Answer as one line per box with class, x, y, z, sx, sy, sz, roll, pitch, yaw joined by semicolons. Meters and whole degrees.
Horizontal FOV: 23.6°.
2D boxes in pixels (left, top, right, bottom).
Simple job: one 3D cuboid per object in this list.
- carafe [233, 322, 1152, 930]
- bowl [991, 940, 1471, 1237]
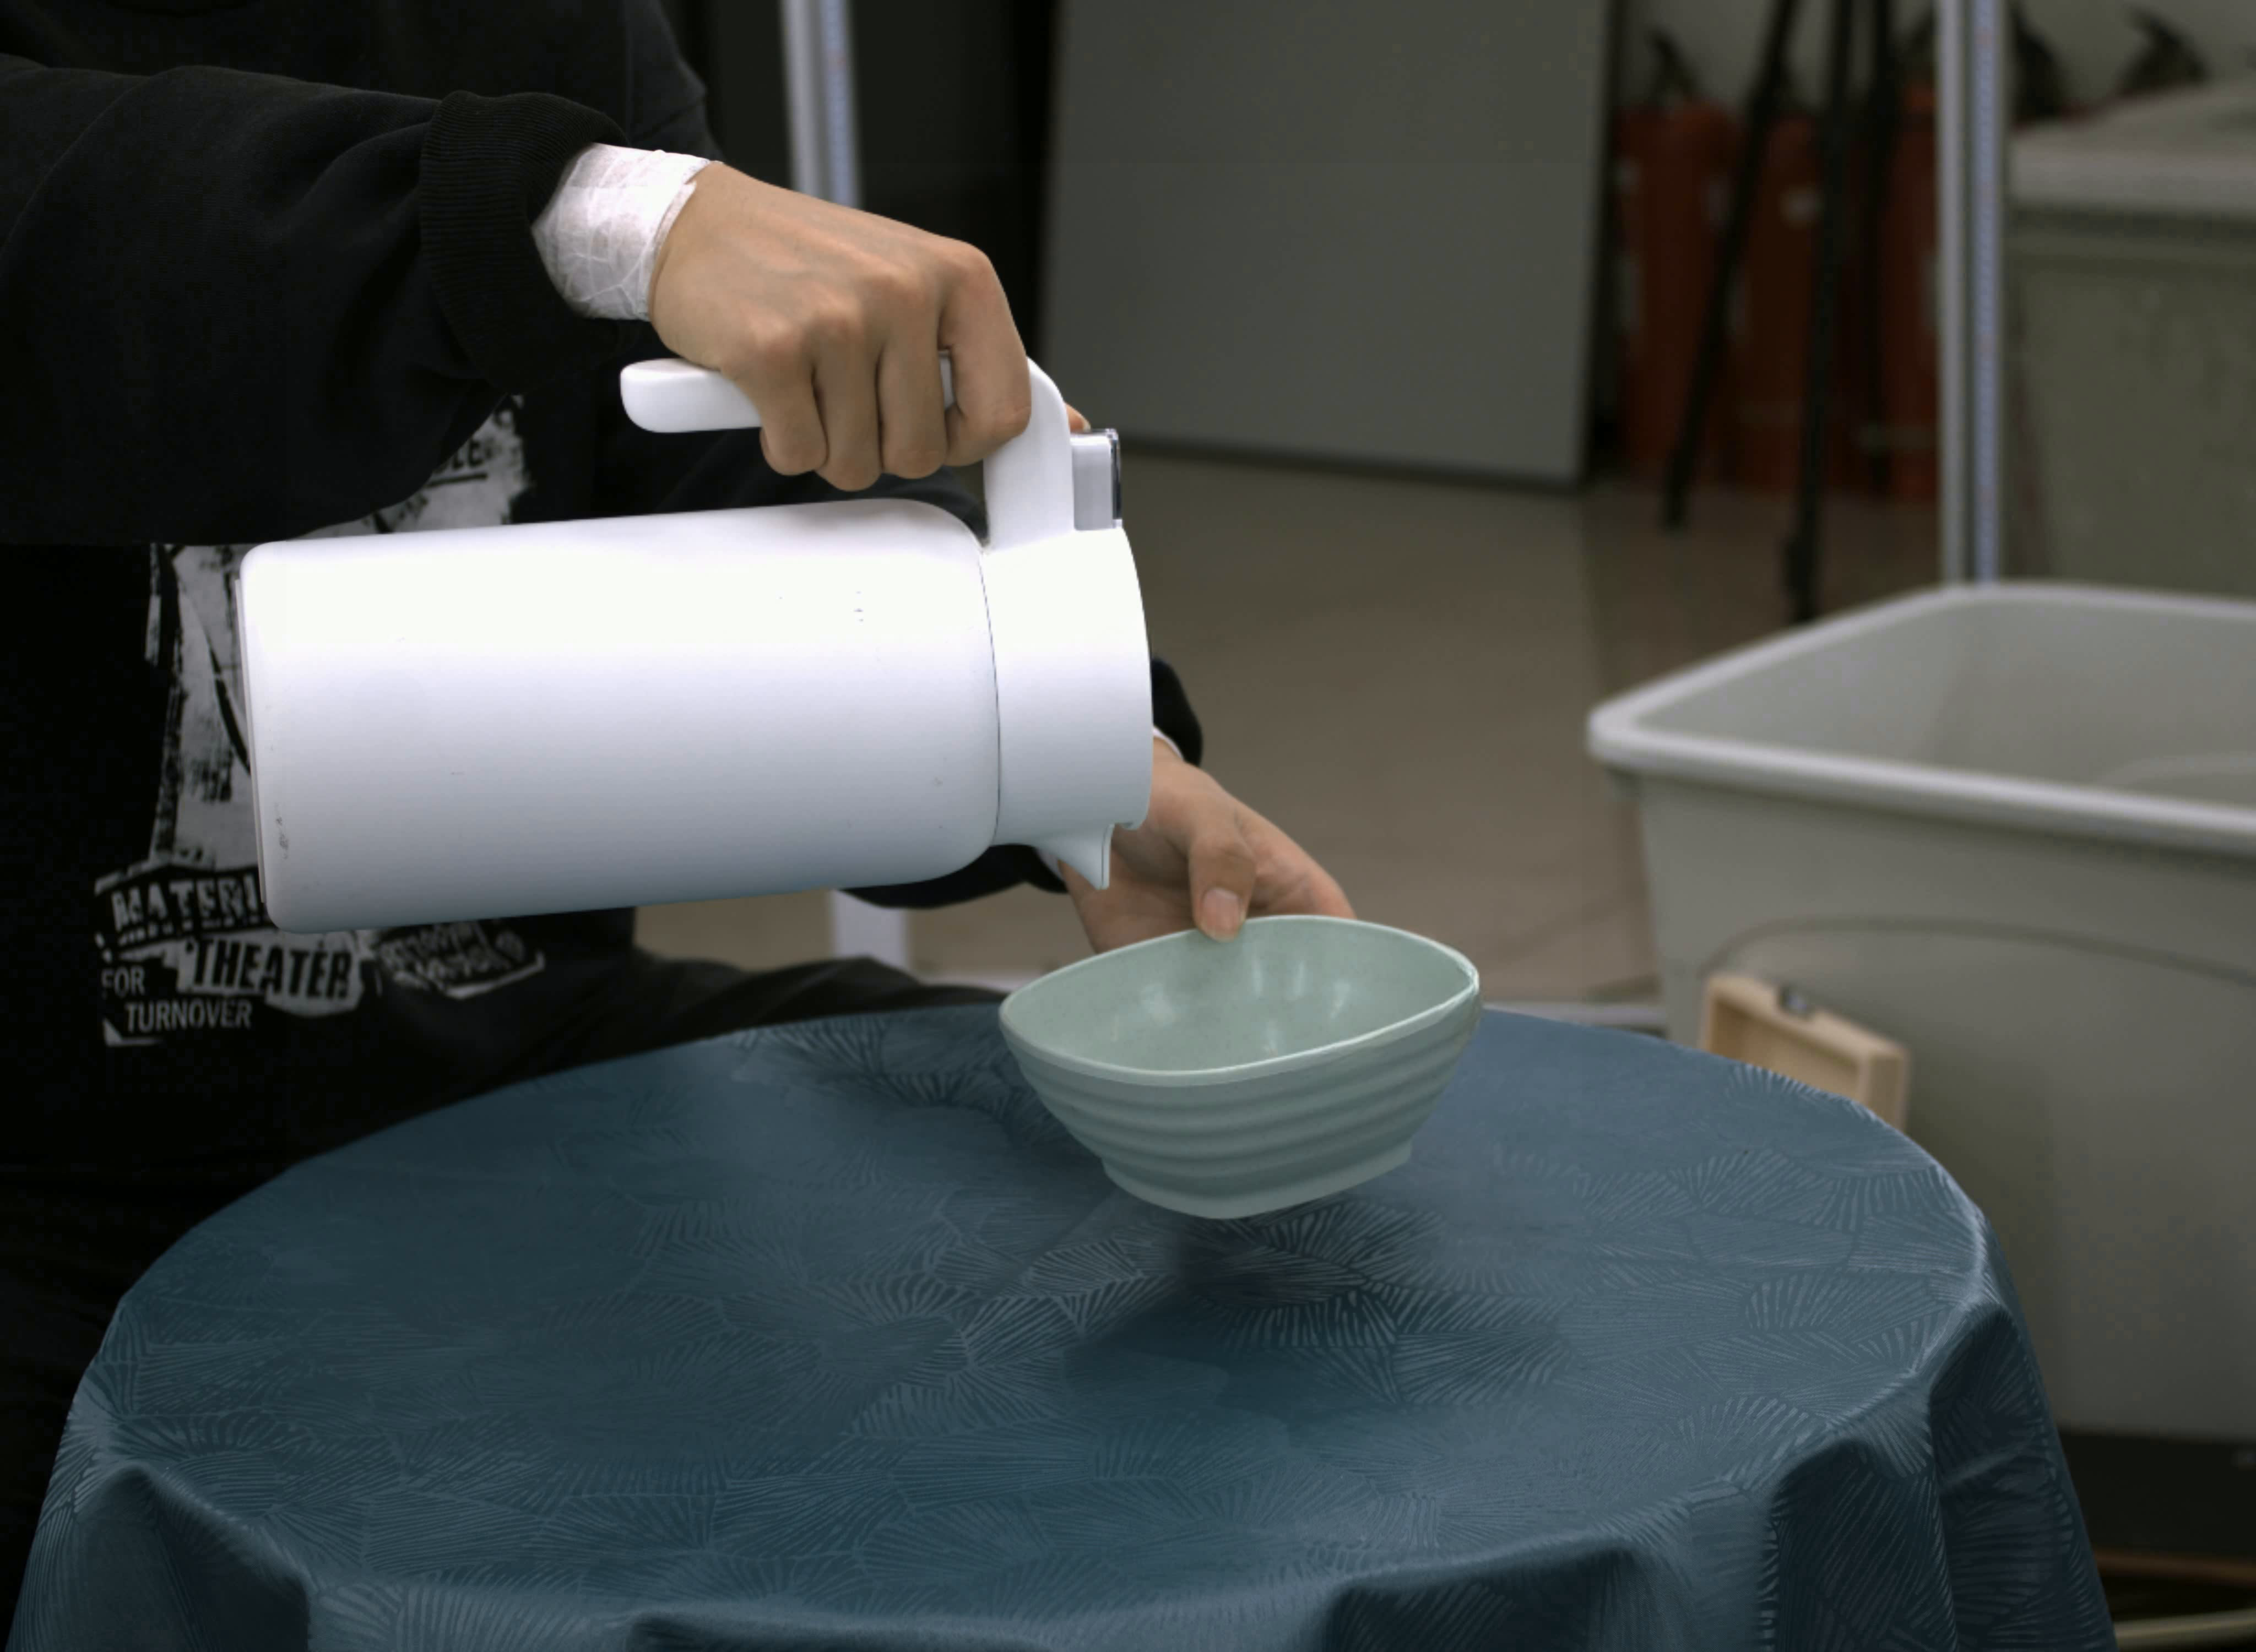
carafe;-0.131;-0.055;1.608;0.264;0.174;0.124;-5;16;-6
bowl;0.035;0.083;1.654;0.149;0.059;0.151;-10;12;1
